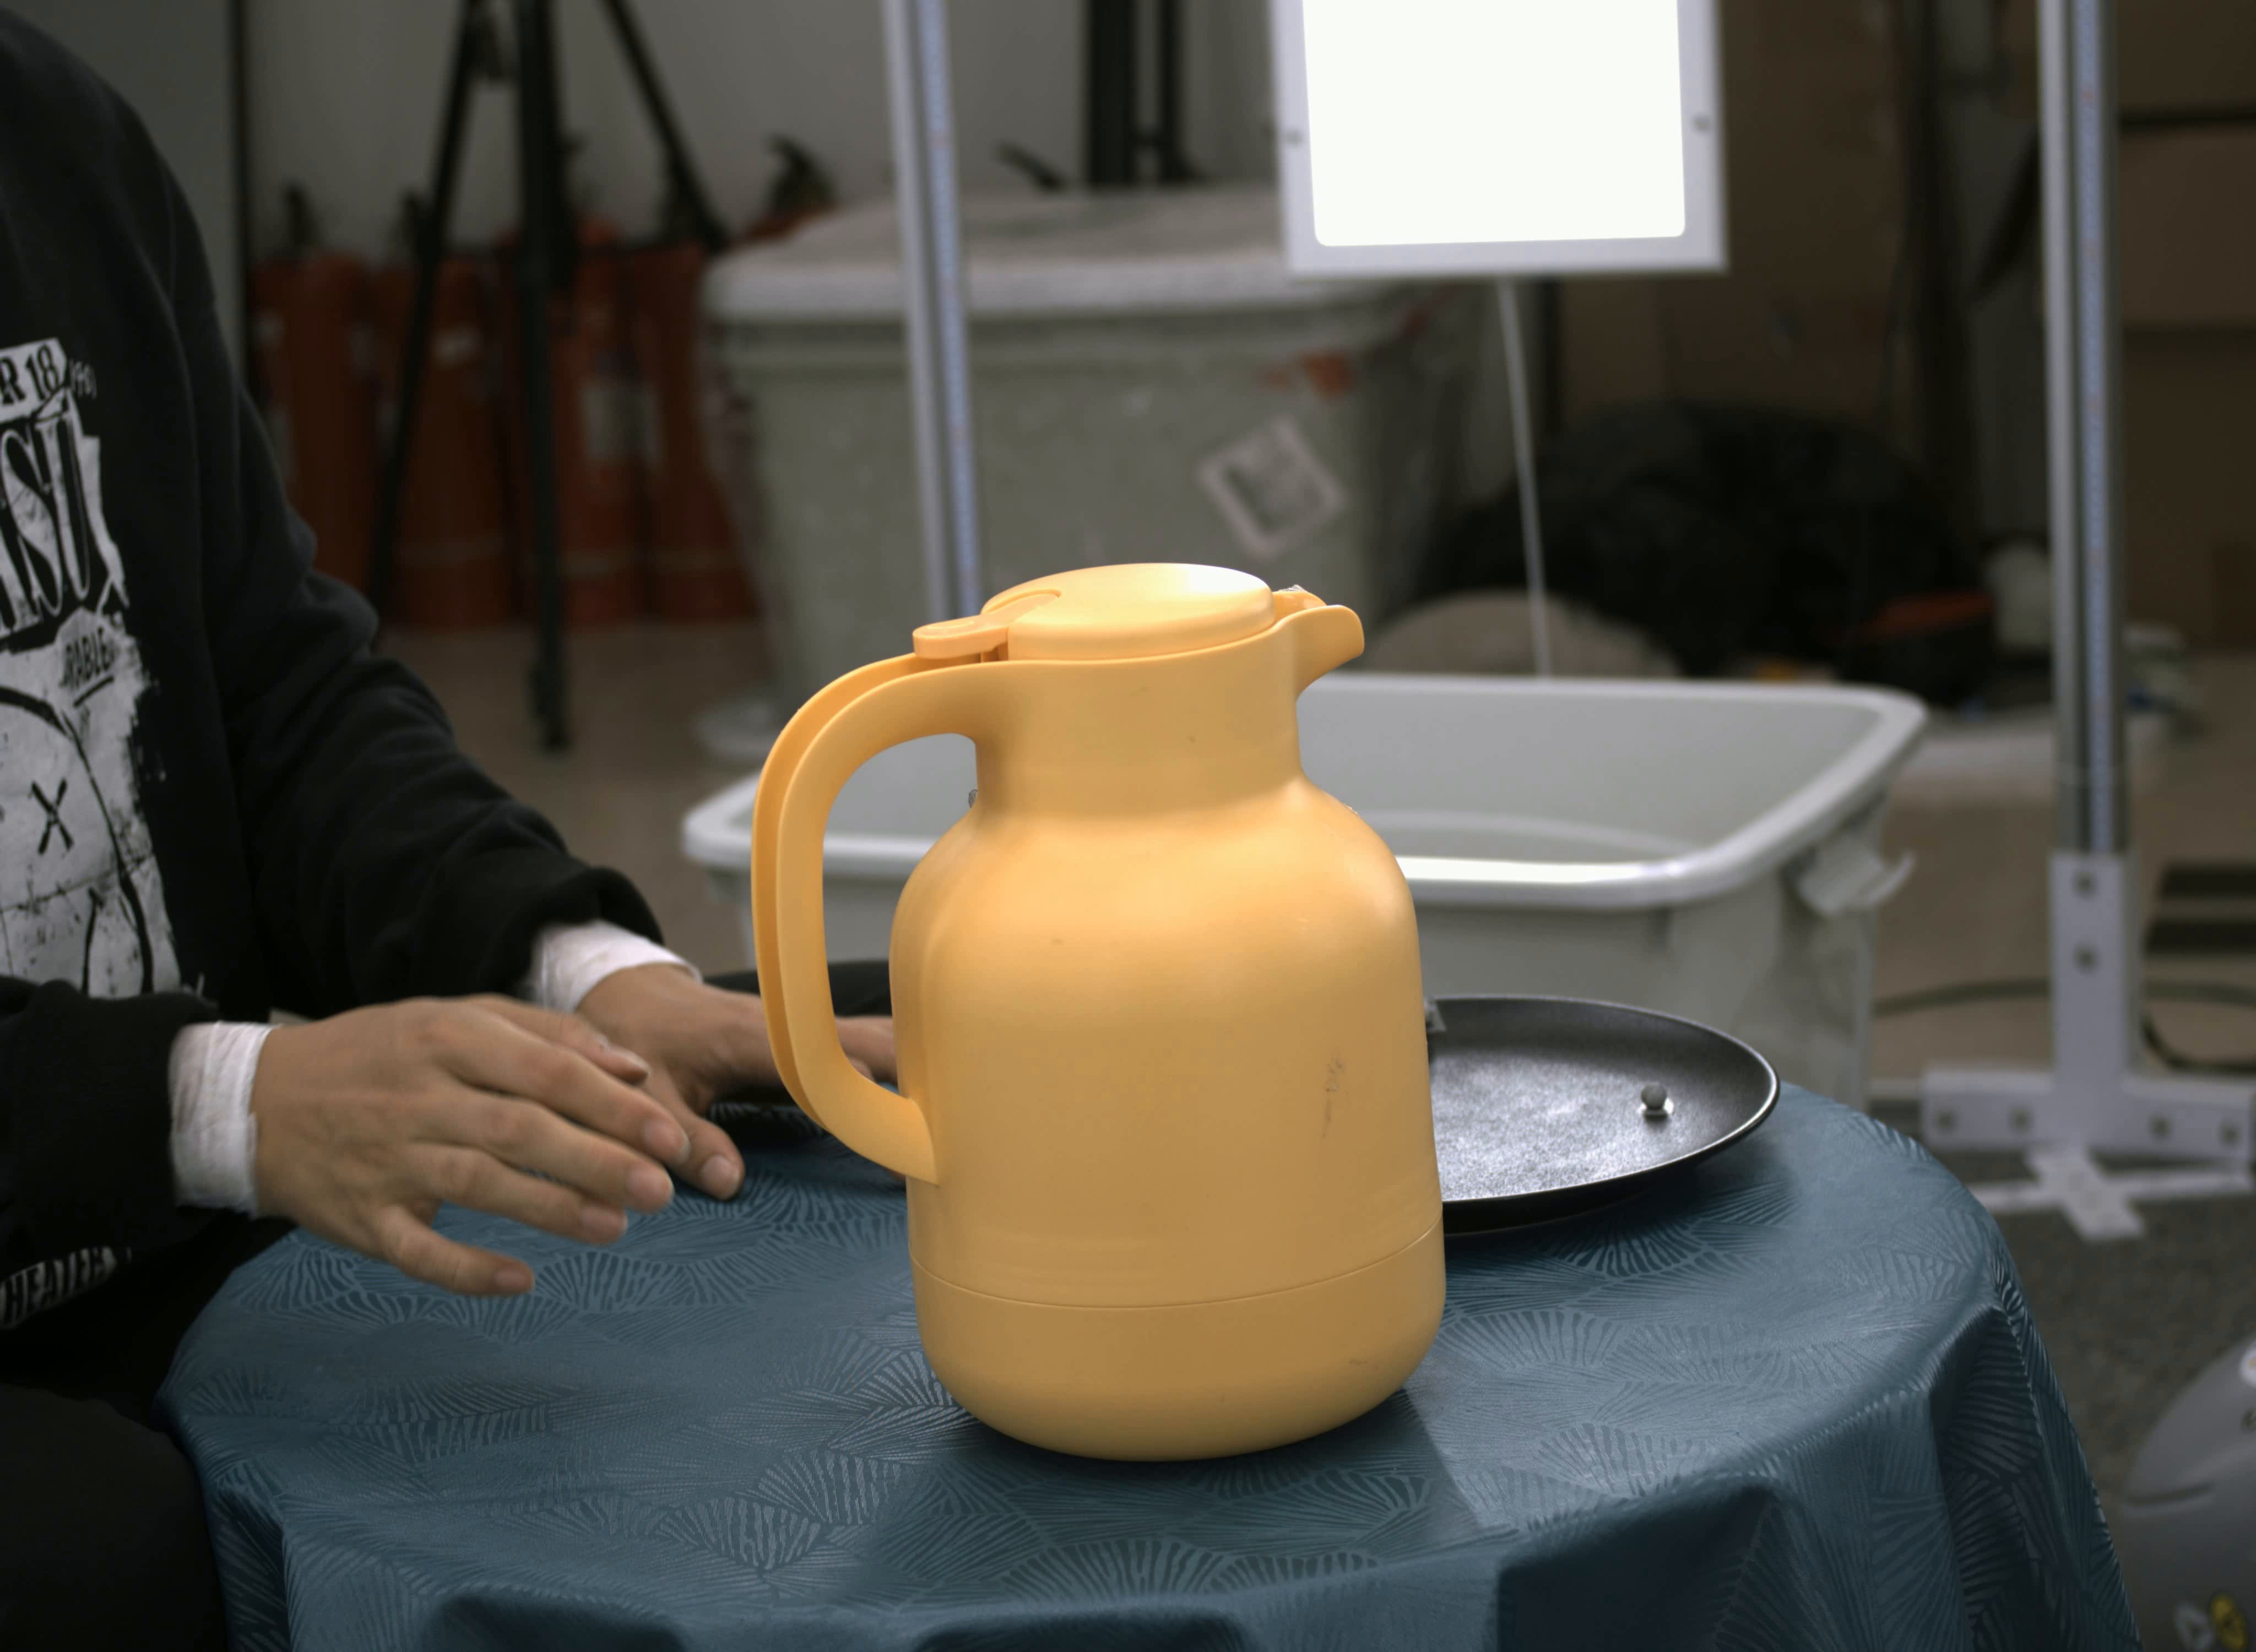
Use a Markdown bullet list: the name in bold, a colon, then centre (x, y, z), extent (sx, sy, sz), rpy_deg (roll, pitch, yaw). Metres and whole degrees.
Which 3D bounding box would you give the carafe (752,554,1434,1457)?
- **carafe**: centre (-0.011, 0.052, 1.653), extent (0.199, 0.261, 0.165), rpy_deg (-7, 11, -16)

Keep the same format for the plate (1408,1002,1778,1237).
- **plate**: centre (0.104, 0.104, 1.904), extent (0.244, 0.023, 0.244), rpy_deg (-5, 14, 0)
